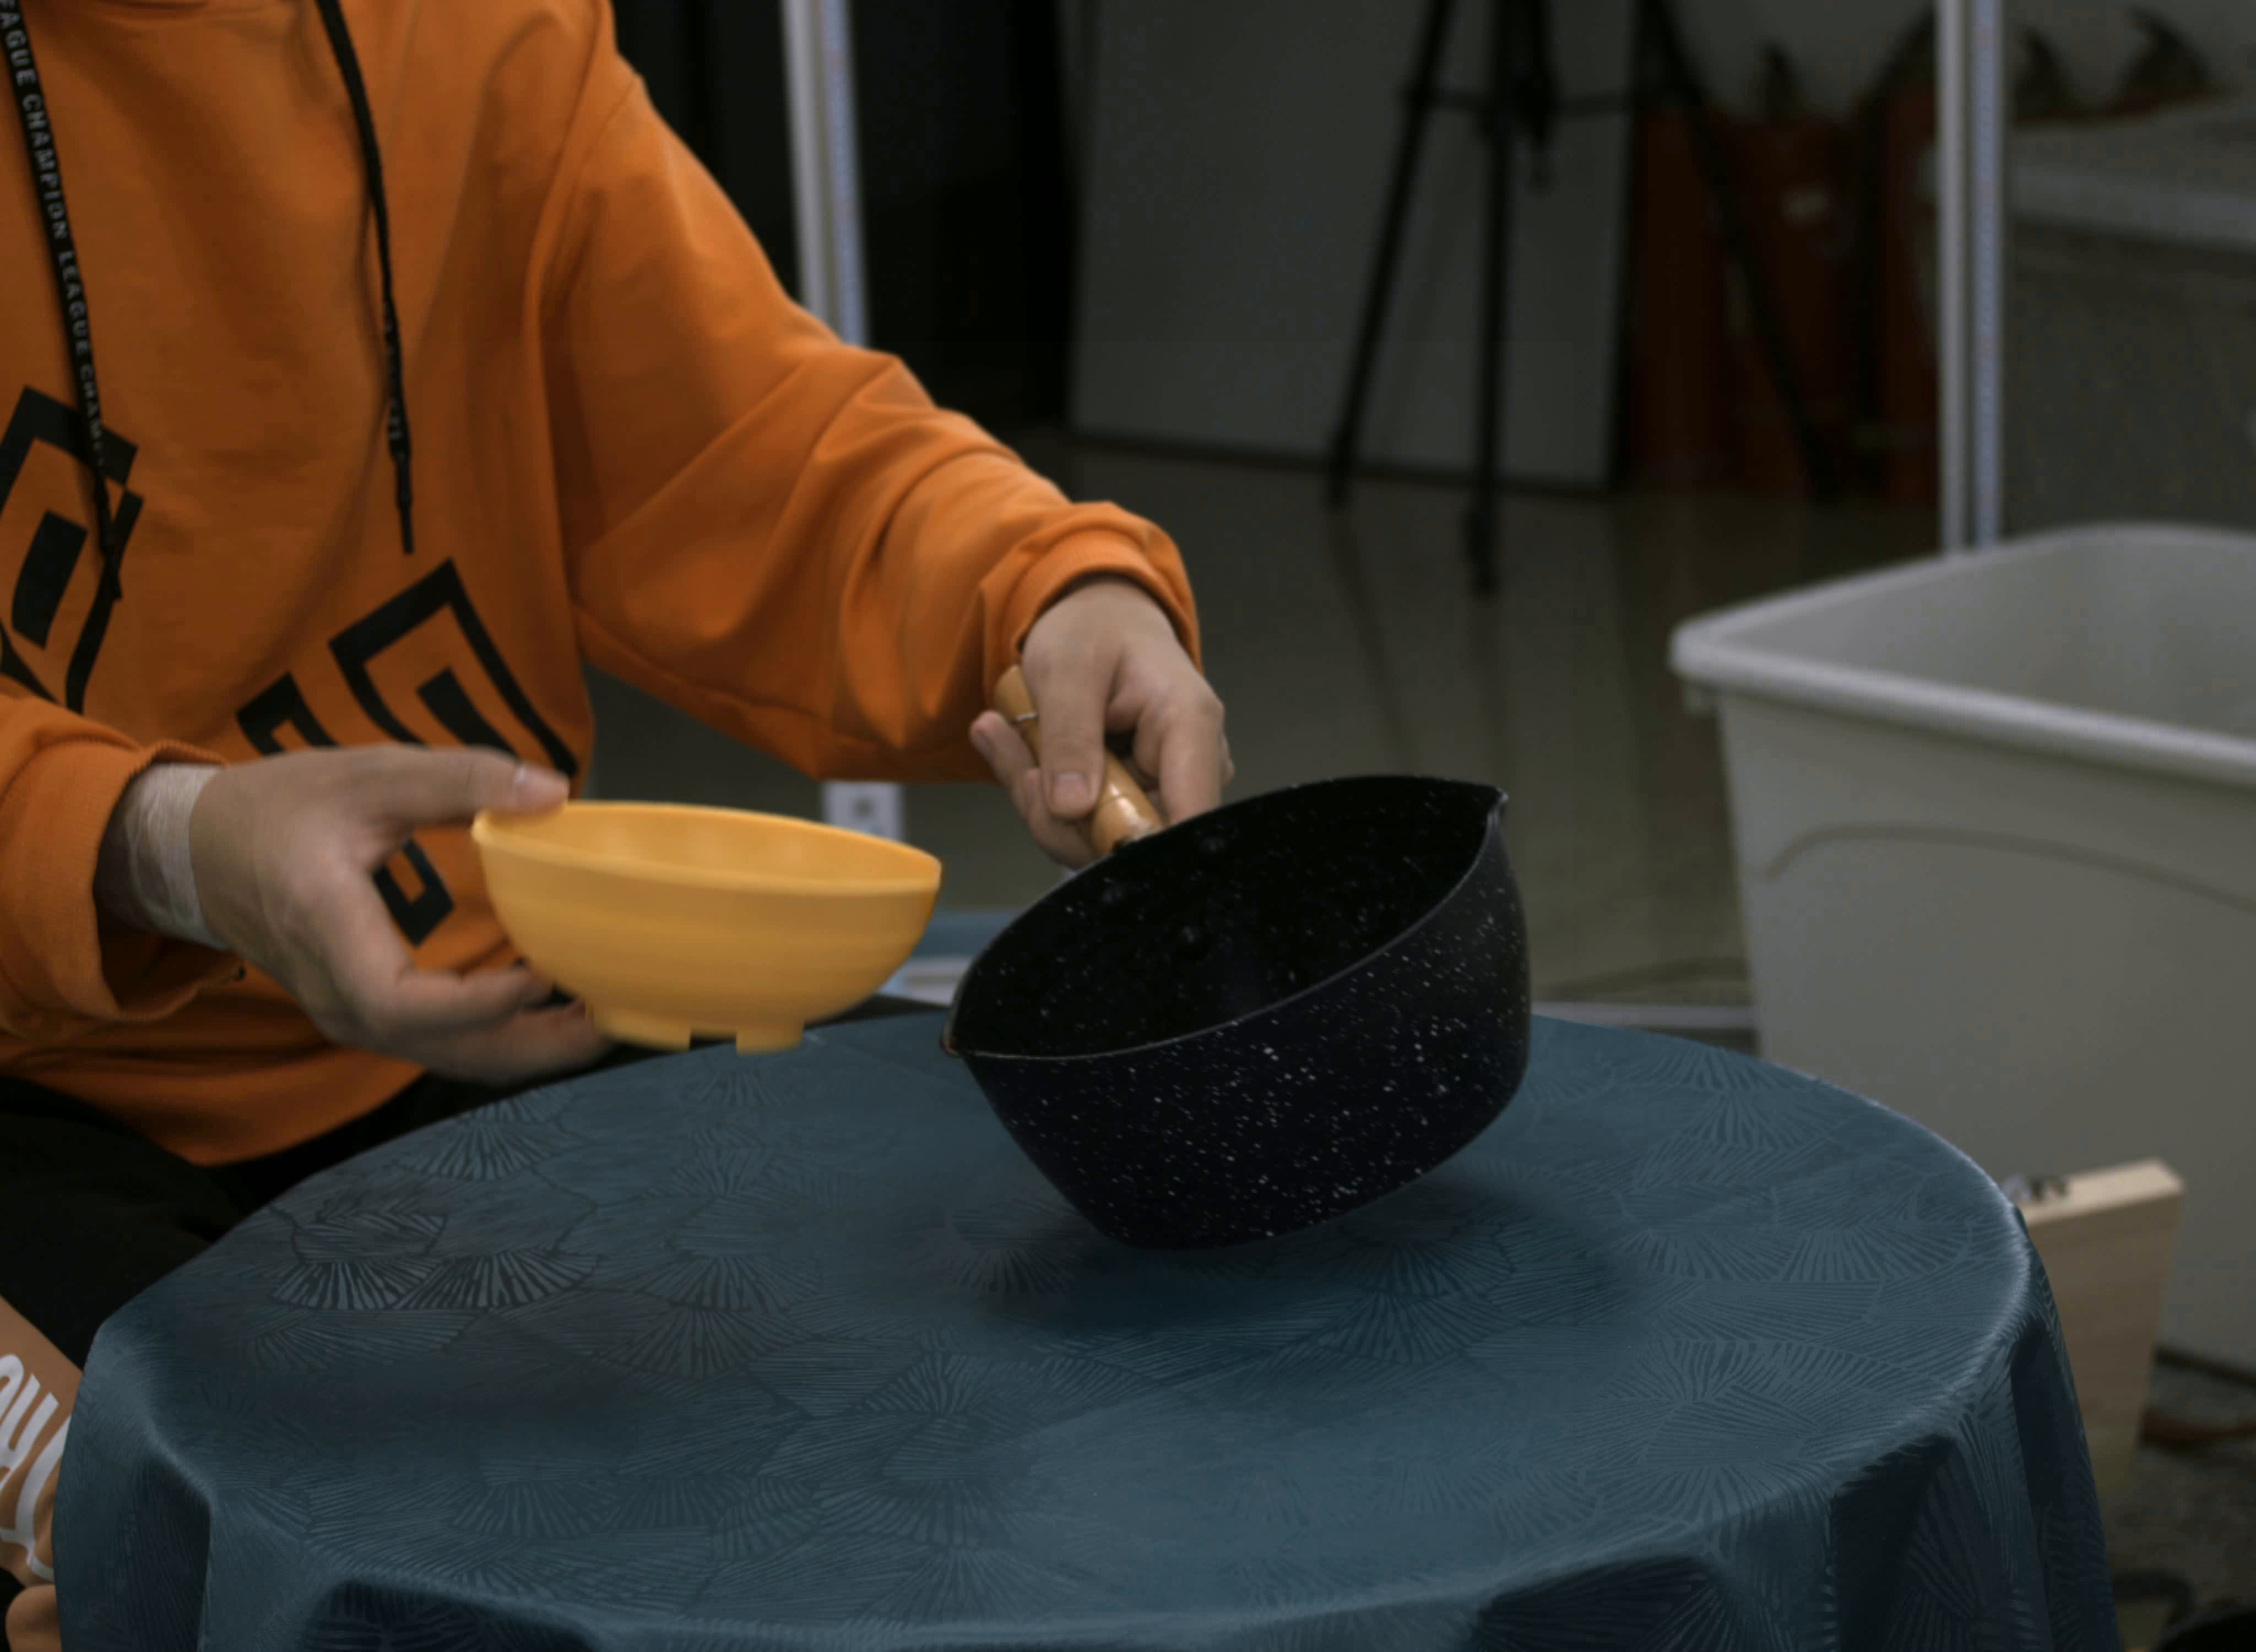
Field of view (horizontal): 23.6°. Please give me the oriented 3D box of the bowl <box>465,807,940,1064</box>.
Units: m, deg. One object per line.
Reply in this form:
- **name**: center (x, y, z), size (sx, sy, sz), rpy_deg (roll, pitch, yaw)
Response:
- **bowl**: center (-0.130, 0.036, 1.625), size (0.143, 0.061, 0.145), rpy_deg (6, 7, -2)

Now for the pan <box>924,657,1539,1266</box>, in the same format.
- **pan**: center (0.020, 0.034, 1.790), size (0.205, 0.108, 0.345), rpy_deg (-26, 21, -8)
